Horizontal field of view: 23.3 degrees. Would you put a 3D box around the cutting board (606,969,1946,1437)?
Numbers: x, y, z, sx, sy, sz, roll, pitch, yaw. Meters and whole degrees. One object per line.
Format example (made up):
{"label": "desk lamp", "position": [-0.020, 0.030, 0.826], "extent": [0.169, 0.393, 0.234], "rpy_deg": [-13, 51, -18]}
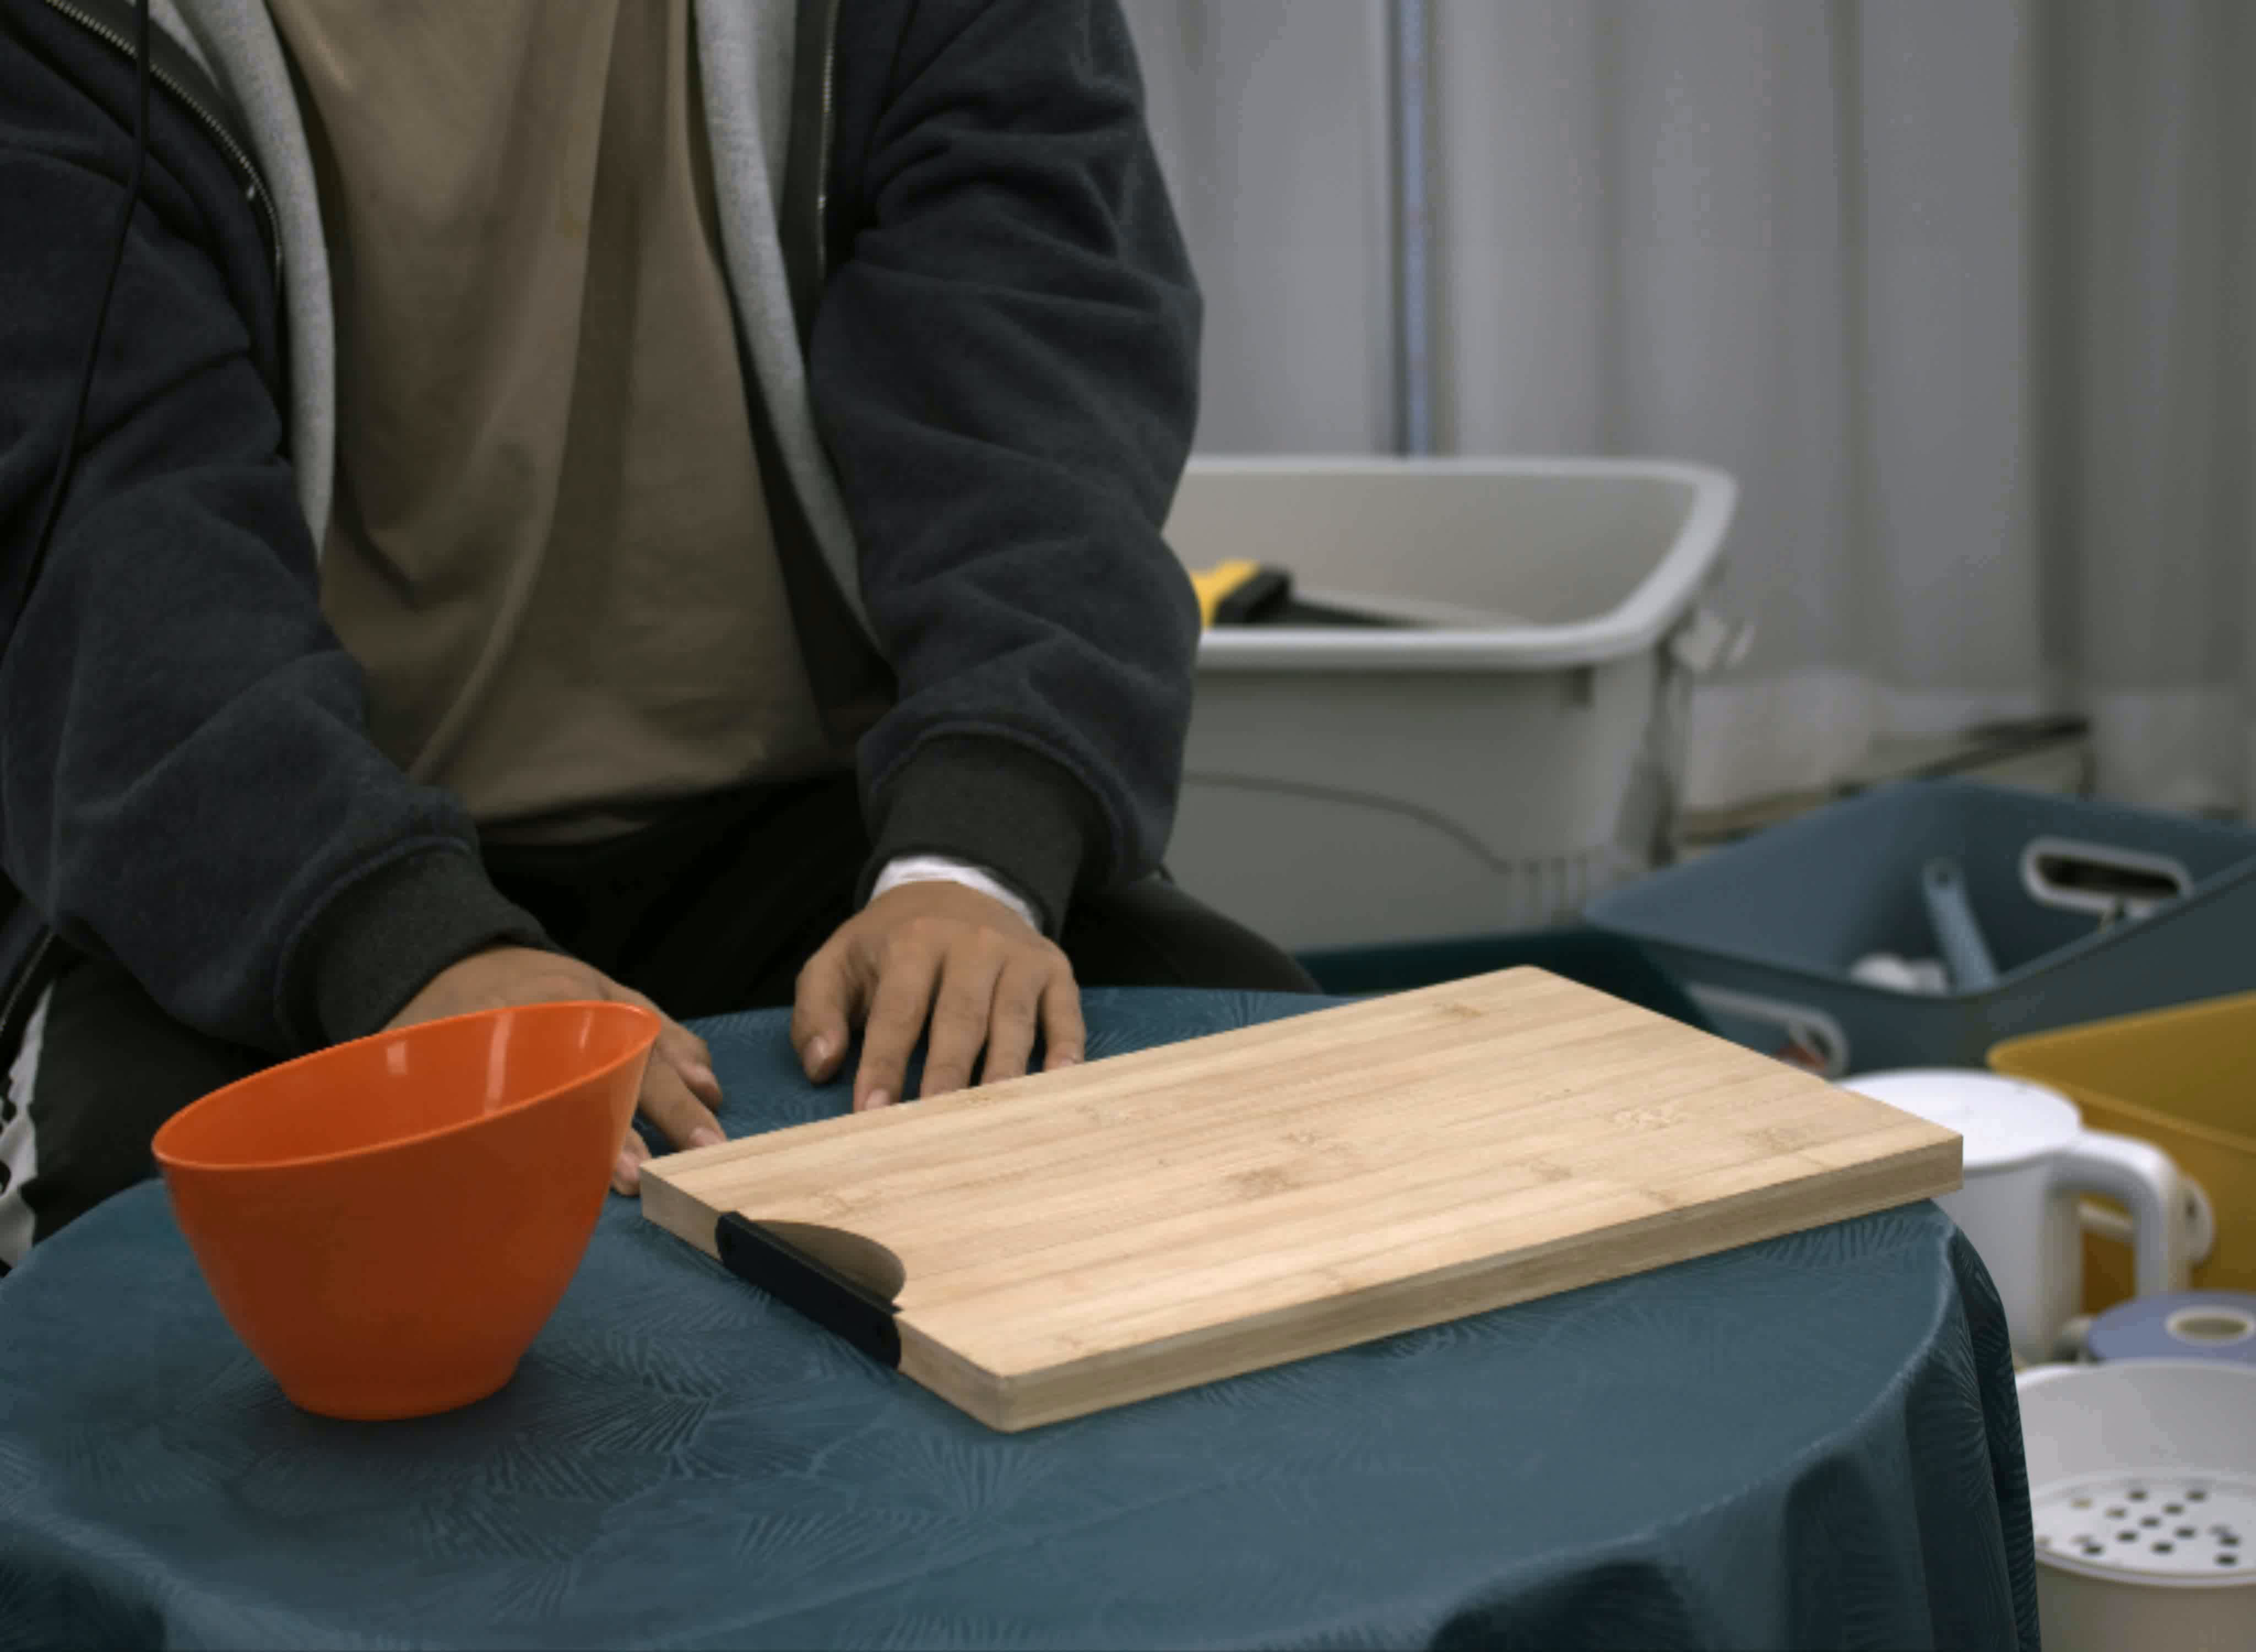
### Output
{"label": "cutting board", "position": [0.046, 0.110, 1.693], "extent": [0.347, 0.023, 0.252], "rpy_deg": [-11, 16, -29]}

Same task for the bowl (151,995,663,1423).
{"label": "bowl", "position": [-0.203, 0.112, 1.568], "extent": [0.147, 0.104, 0.149], "rpy_deg": [-3, 17, 1]}
